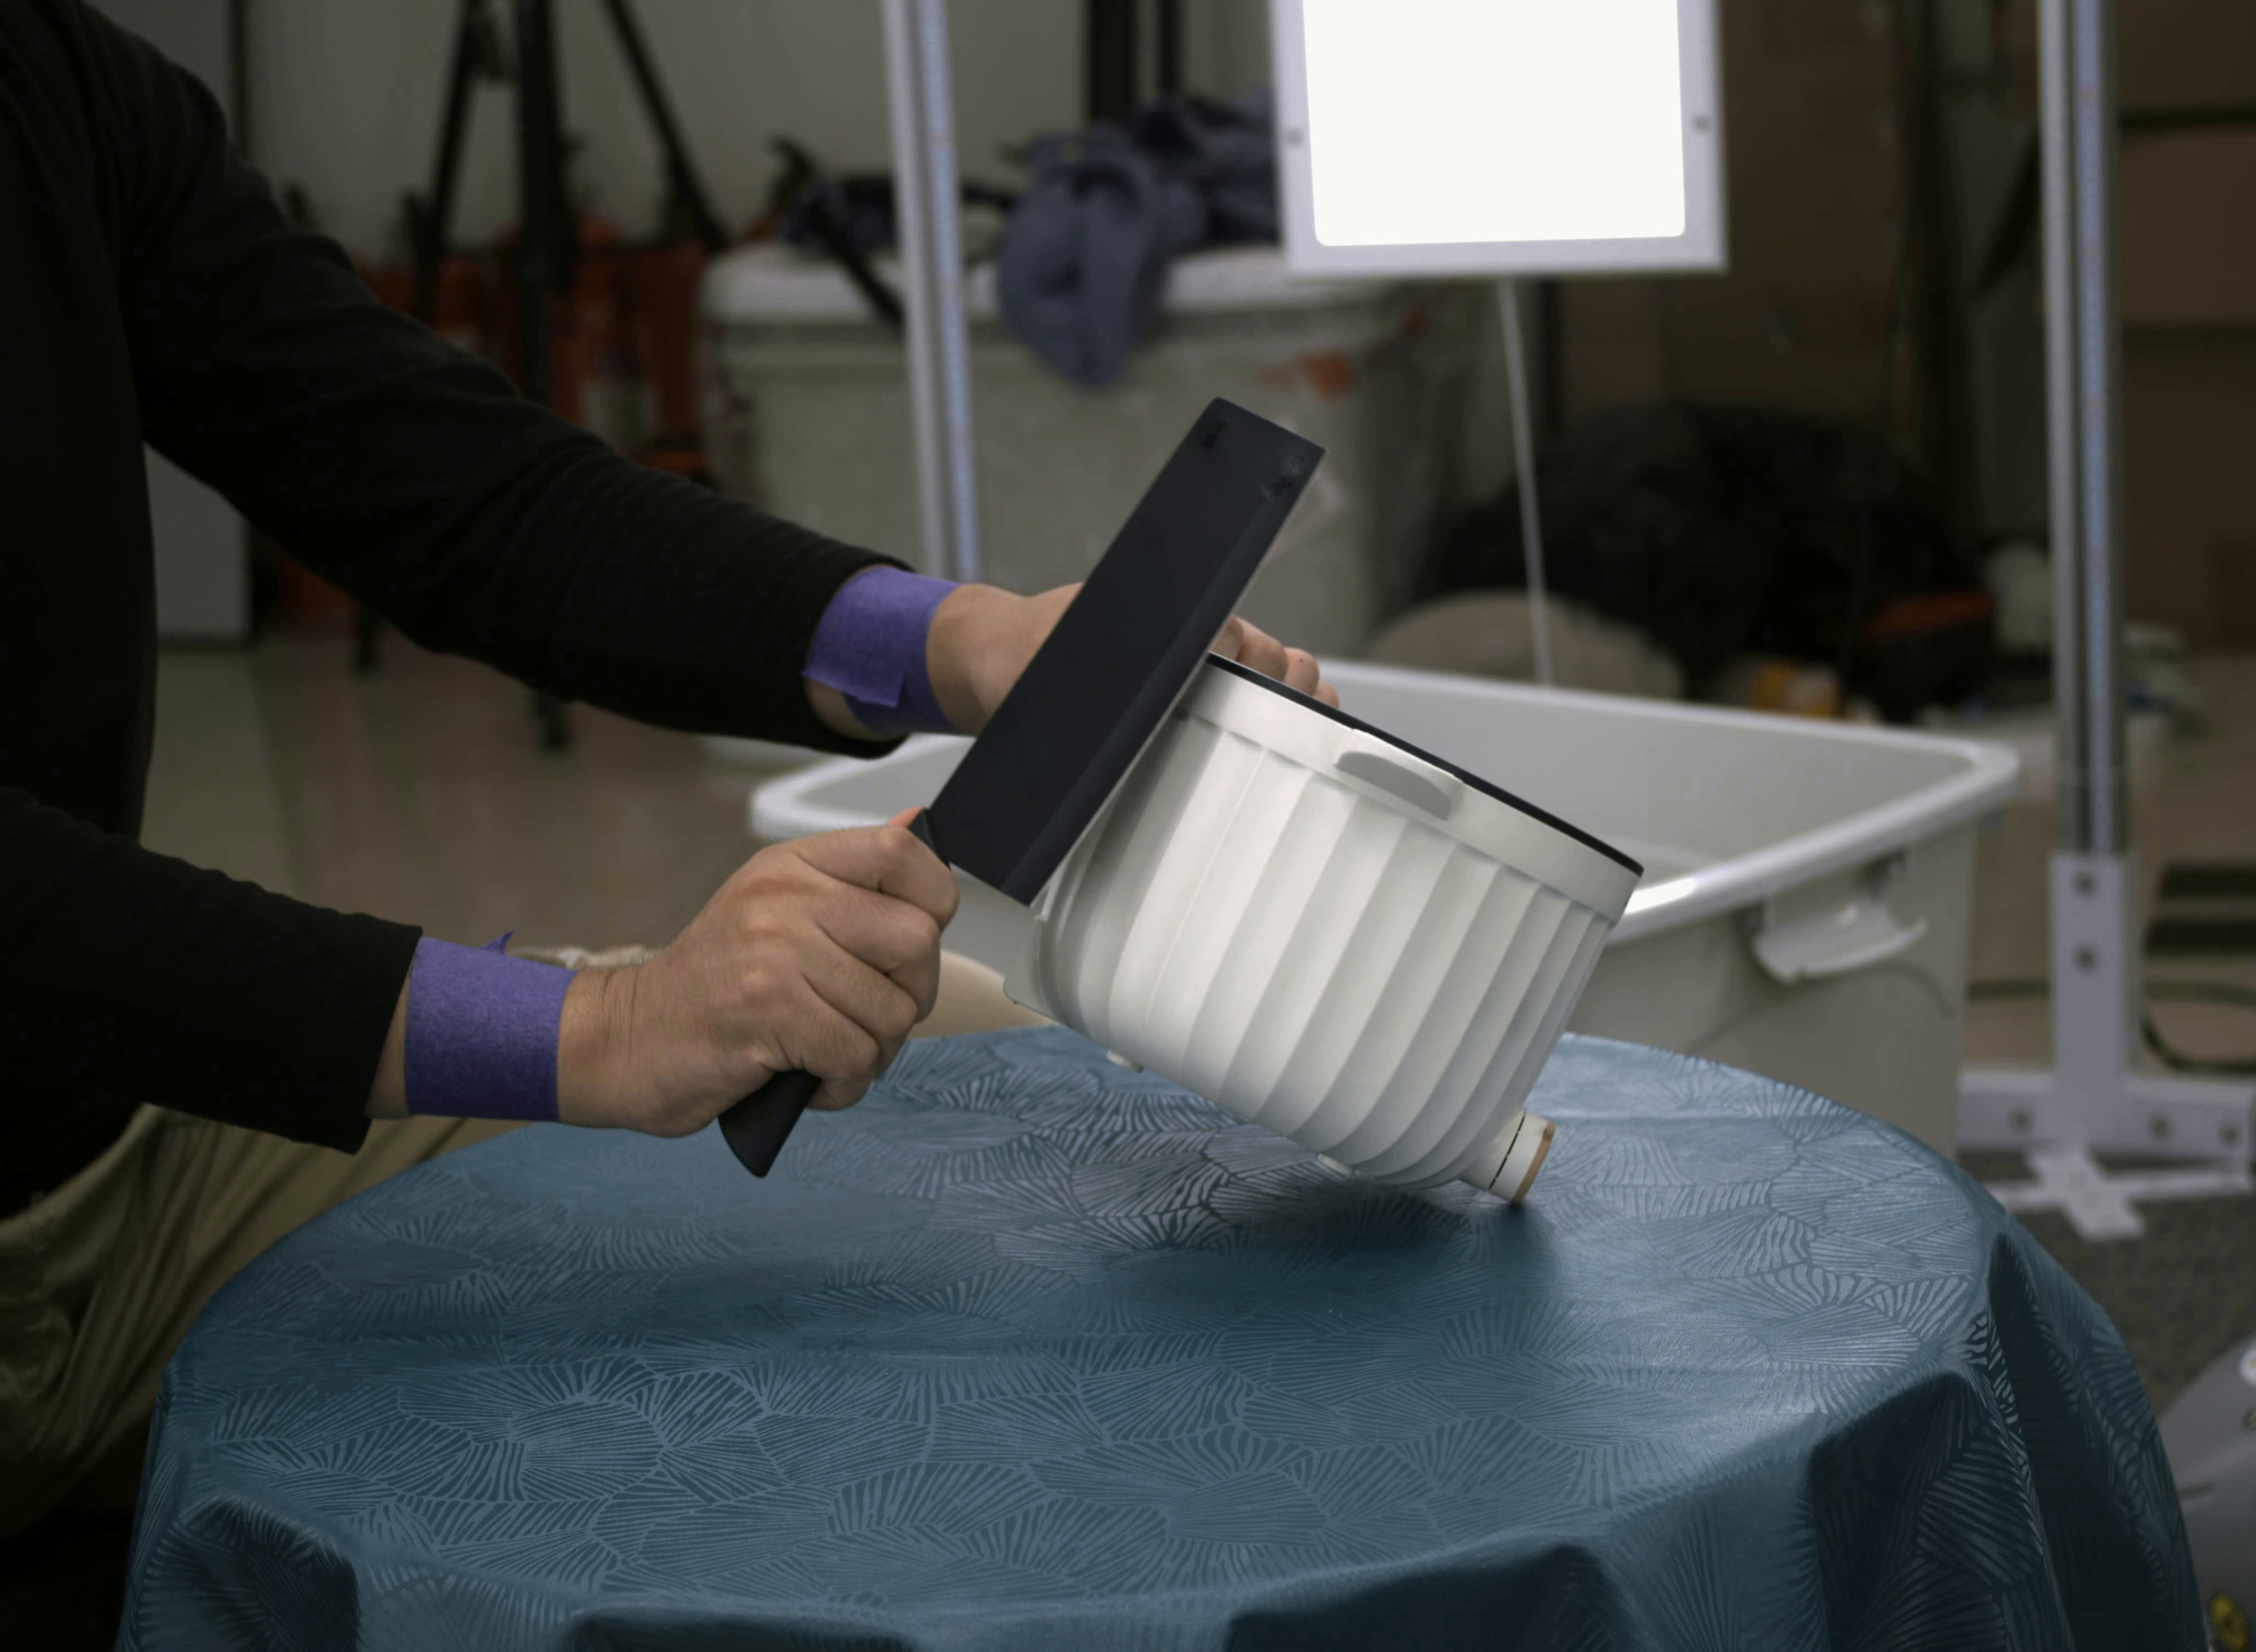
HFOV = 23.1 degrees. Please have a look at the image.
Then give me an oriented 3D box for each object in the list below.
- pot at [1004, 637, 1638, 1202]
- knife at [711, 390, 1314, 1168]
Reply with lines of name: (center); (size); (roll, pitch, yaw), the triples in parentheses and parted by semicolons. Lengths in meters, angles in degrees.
pot: (0.068, 0.037, 1.853); (0.190, 0.143, 0.240); (23, 1, 1)
knife: (-0.040, -0.015, 1.811); (0.020, 0.302, 0.082); (37, 0, -43)
